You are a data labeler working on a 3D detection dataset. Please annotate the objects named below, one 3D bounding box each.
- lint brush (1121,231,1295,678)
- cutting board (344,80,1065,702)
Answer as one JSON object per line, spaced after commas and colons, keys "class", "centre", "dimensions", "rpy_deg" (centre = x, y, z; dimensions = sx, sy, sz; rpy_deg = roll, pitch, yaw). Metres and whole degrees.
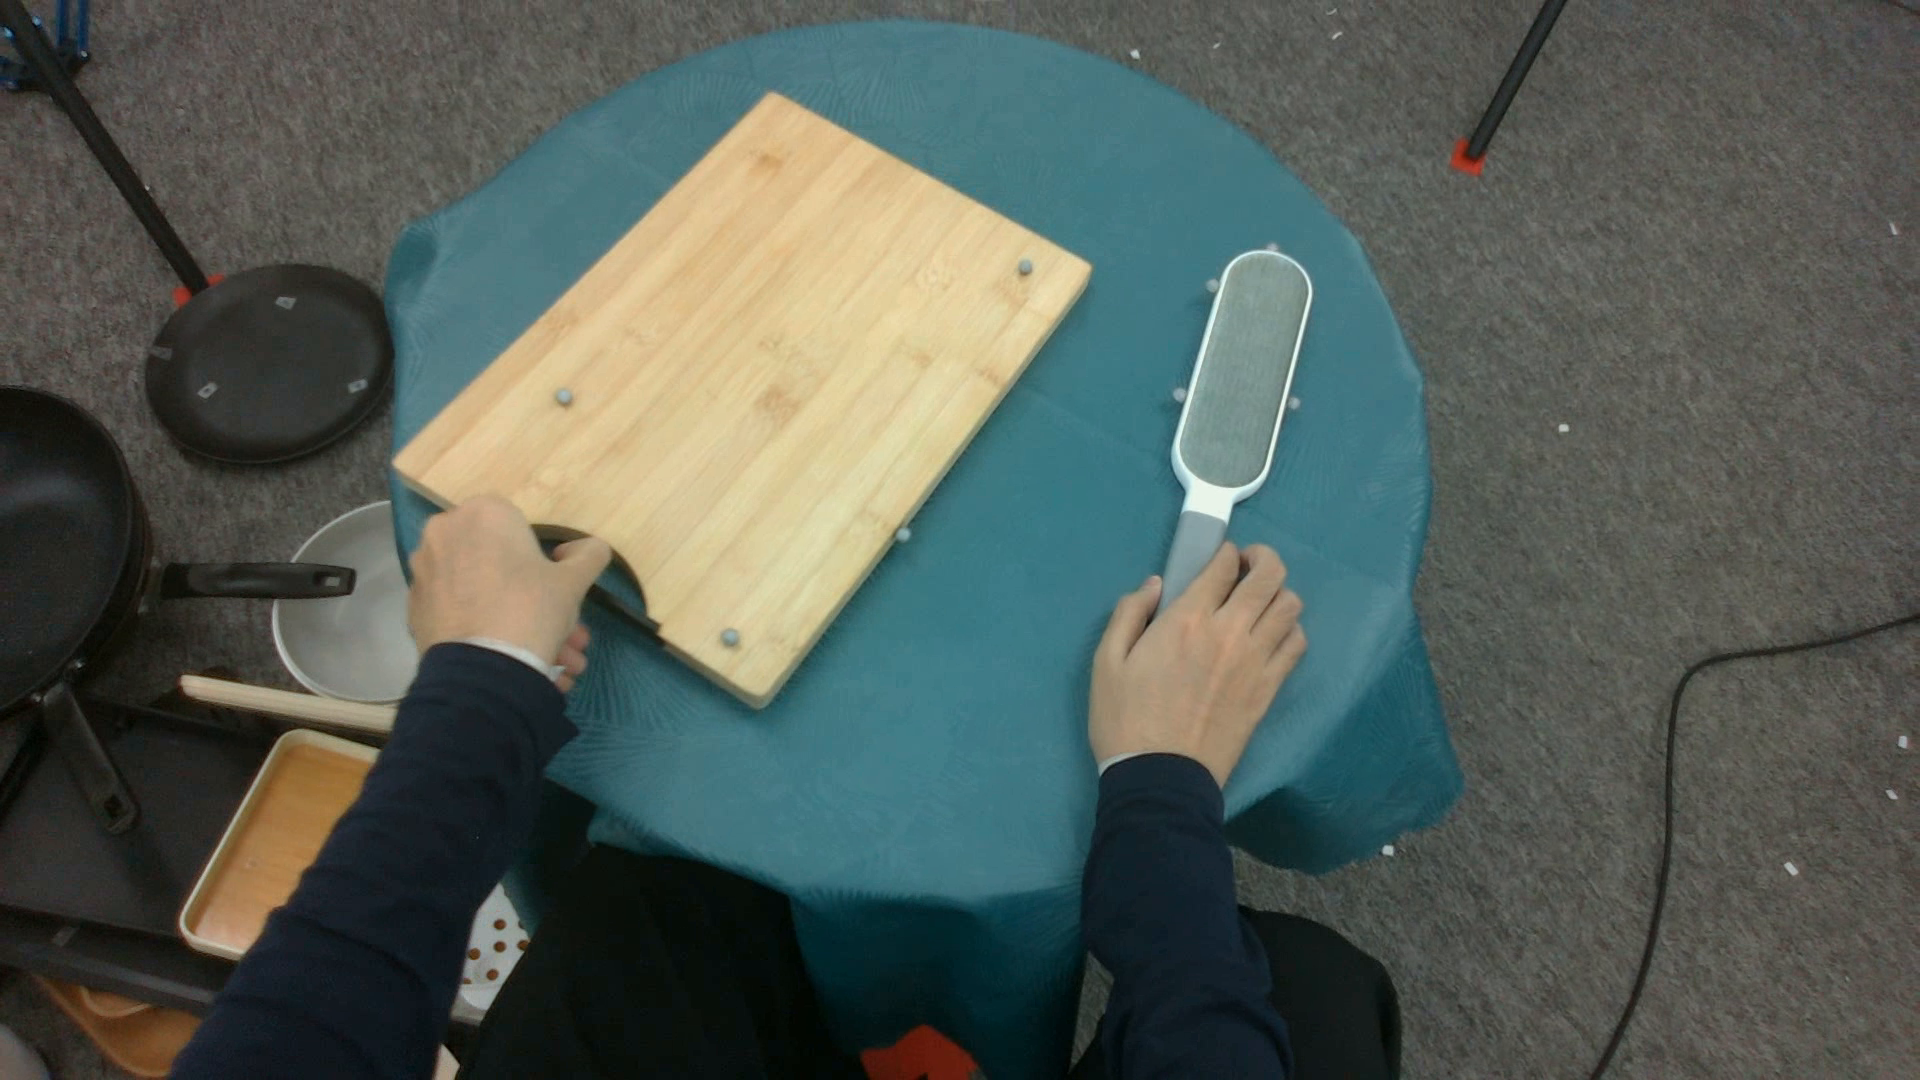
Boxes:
{"class": "lint brush", "centre": [0.139, -0.060, 0.788], "dimensions": [0.060, 0.021, 0.310], "rpy_deg": [20, 62, 0]}
{"class": "cutting board", "centre": [-0.128, -0.105, 0.783], "dimensions": [0.251, 0.023, 0.350], "rpy_deg": [31, 62, 10]}
